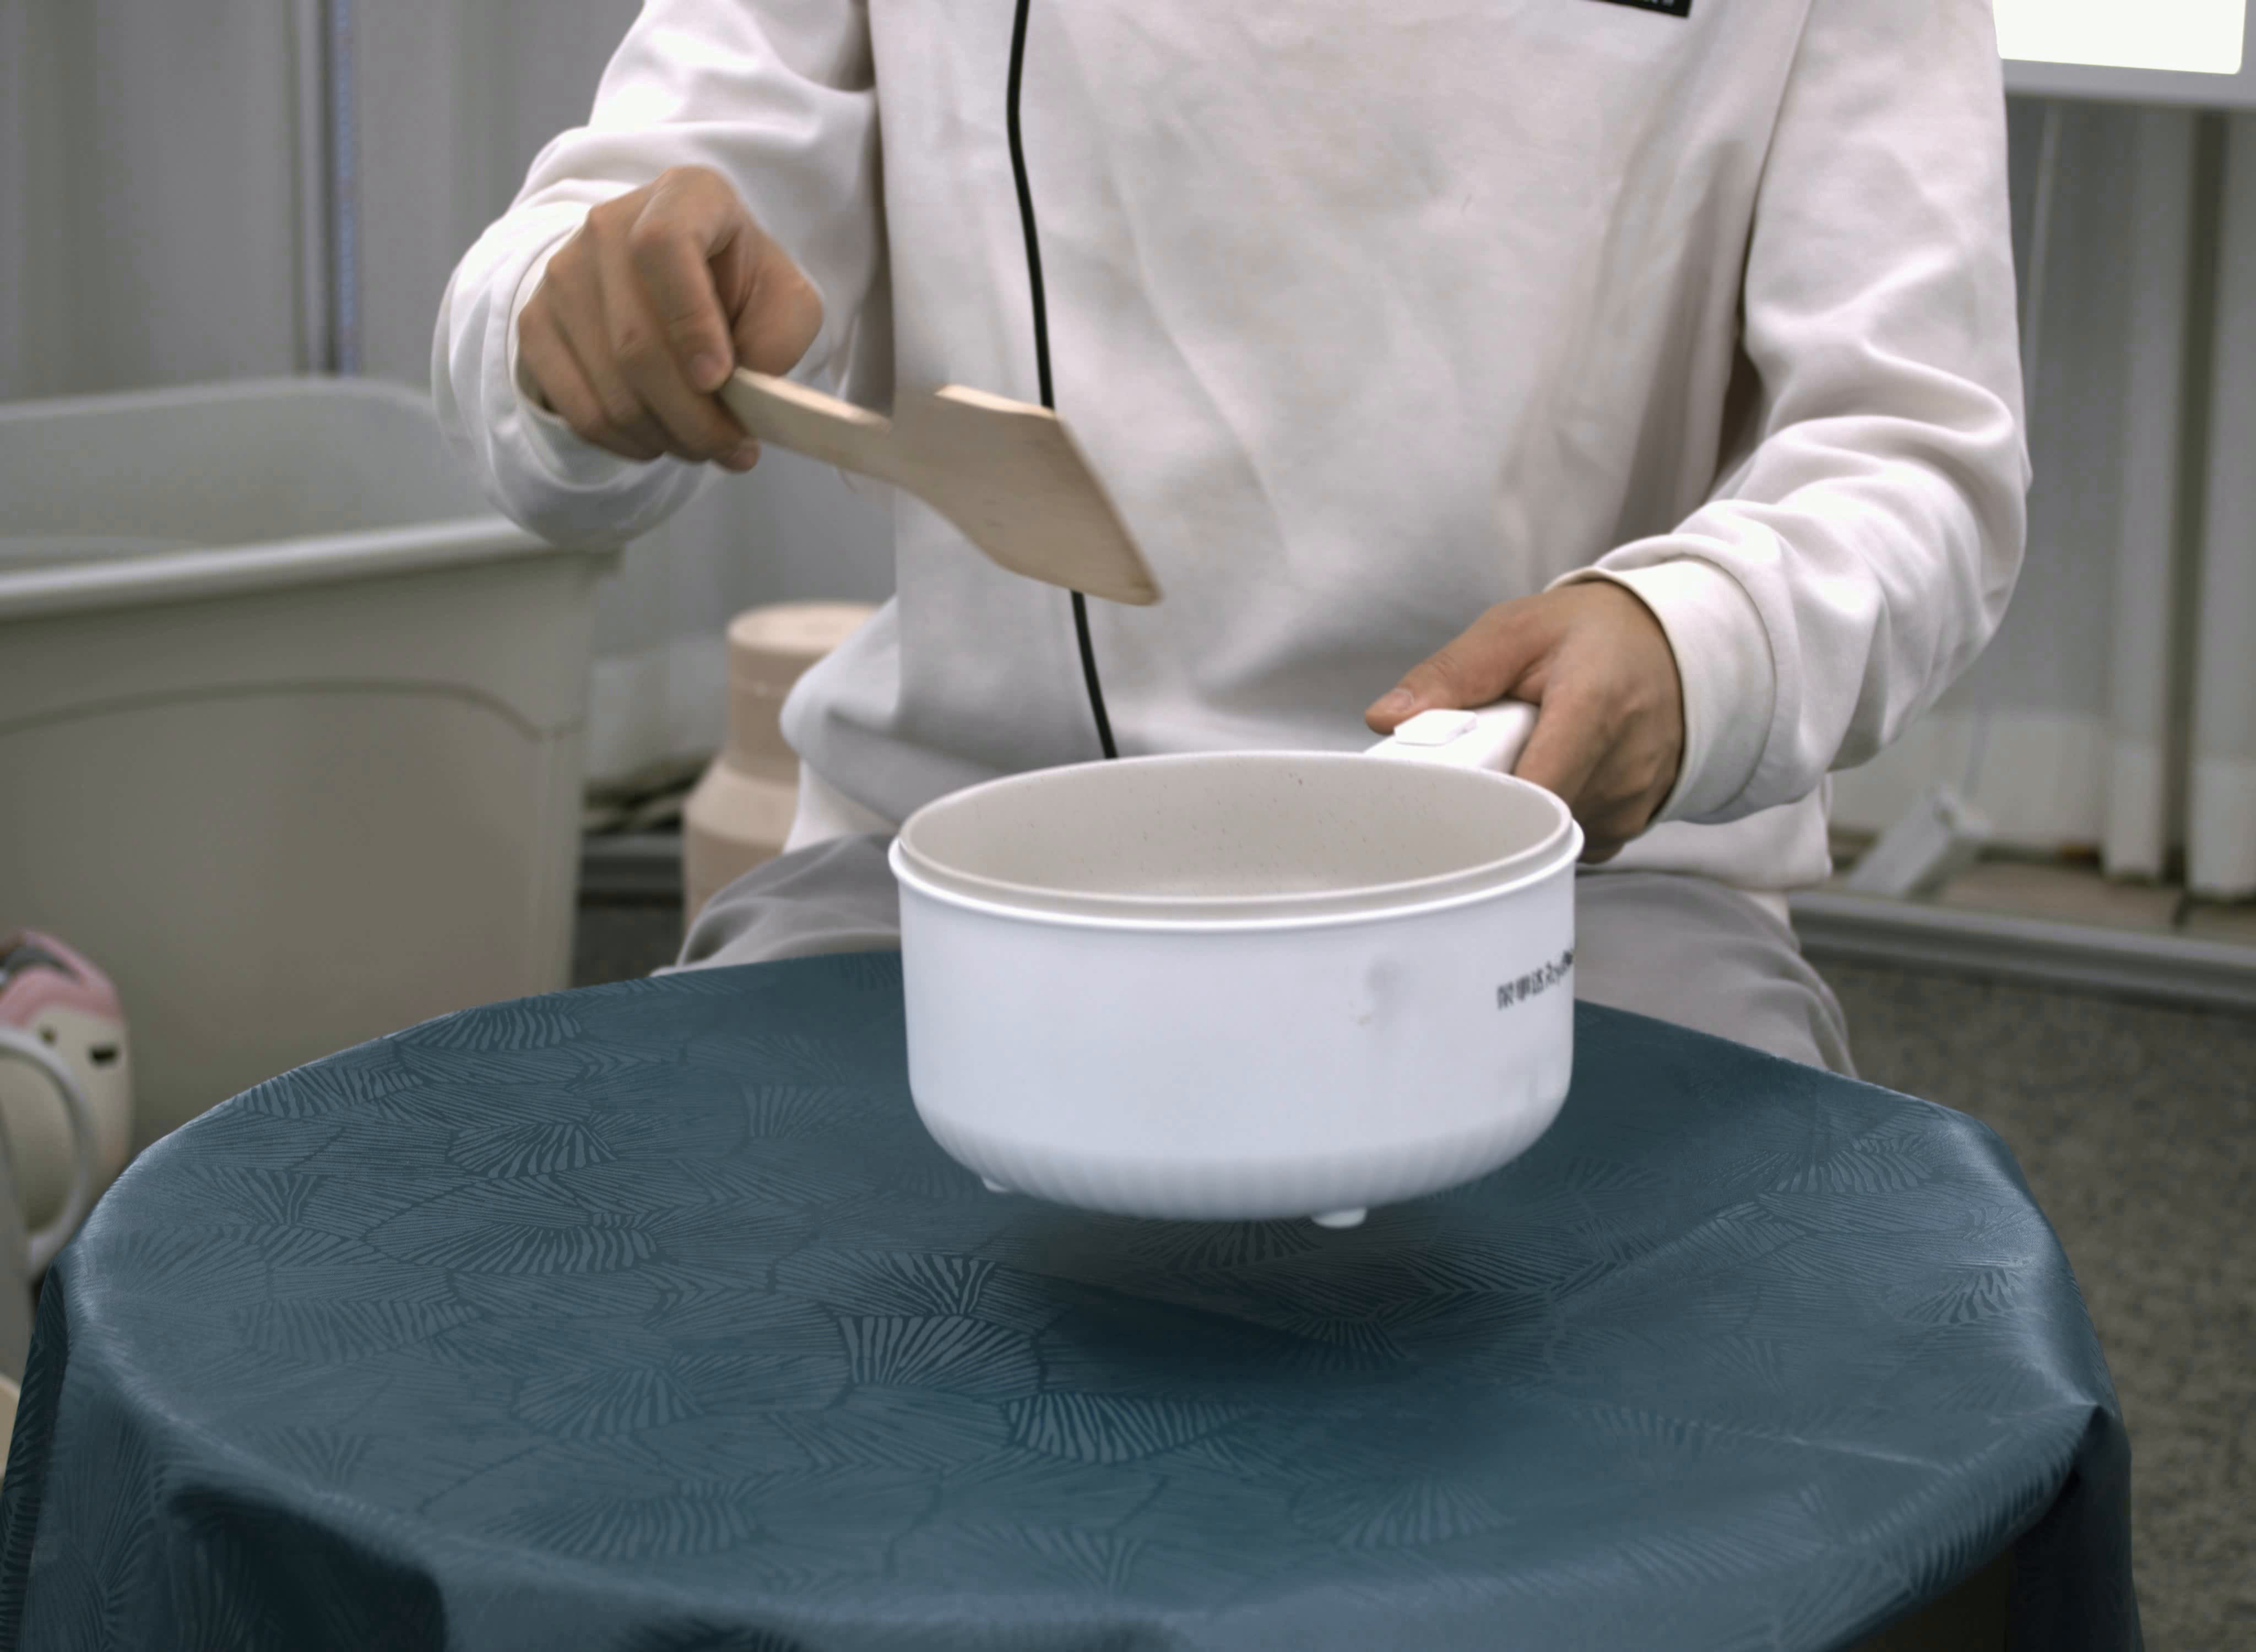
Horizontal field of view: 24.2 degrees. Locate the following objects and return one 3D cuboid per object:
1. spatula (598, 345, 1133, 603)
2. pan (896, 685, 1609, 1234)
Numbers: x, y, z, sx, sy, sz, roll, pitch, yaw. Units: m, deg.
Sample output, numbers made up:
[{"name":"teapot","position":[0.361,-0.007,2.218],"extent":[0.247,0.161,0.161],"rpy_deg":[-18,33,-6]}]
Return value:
[{"name":"spatula","position":[-0.091,-0.117,1.575],"extent":[0.010,0.073,0.289],"rpy_deg":[-43,30,-16]},{"name":"pan","position":[0.067,0.035,1.600],"extent":[0.199,0.103,0.356],"rpy_deg":[3,13,24]}]
